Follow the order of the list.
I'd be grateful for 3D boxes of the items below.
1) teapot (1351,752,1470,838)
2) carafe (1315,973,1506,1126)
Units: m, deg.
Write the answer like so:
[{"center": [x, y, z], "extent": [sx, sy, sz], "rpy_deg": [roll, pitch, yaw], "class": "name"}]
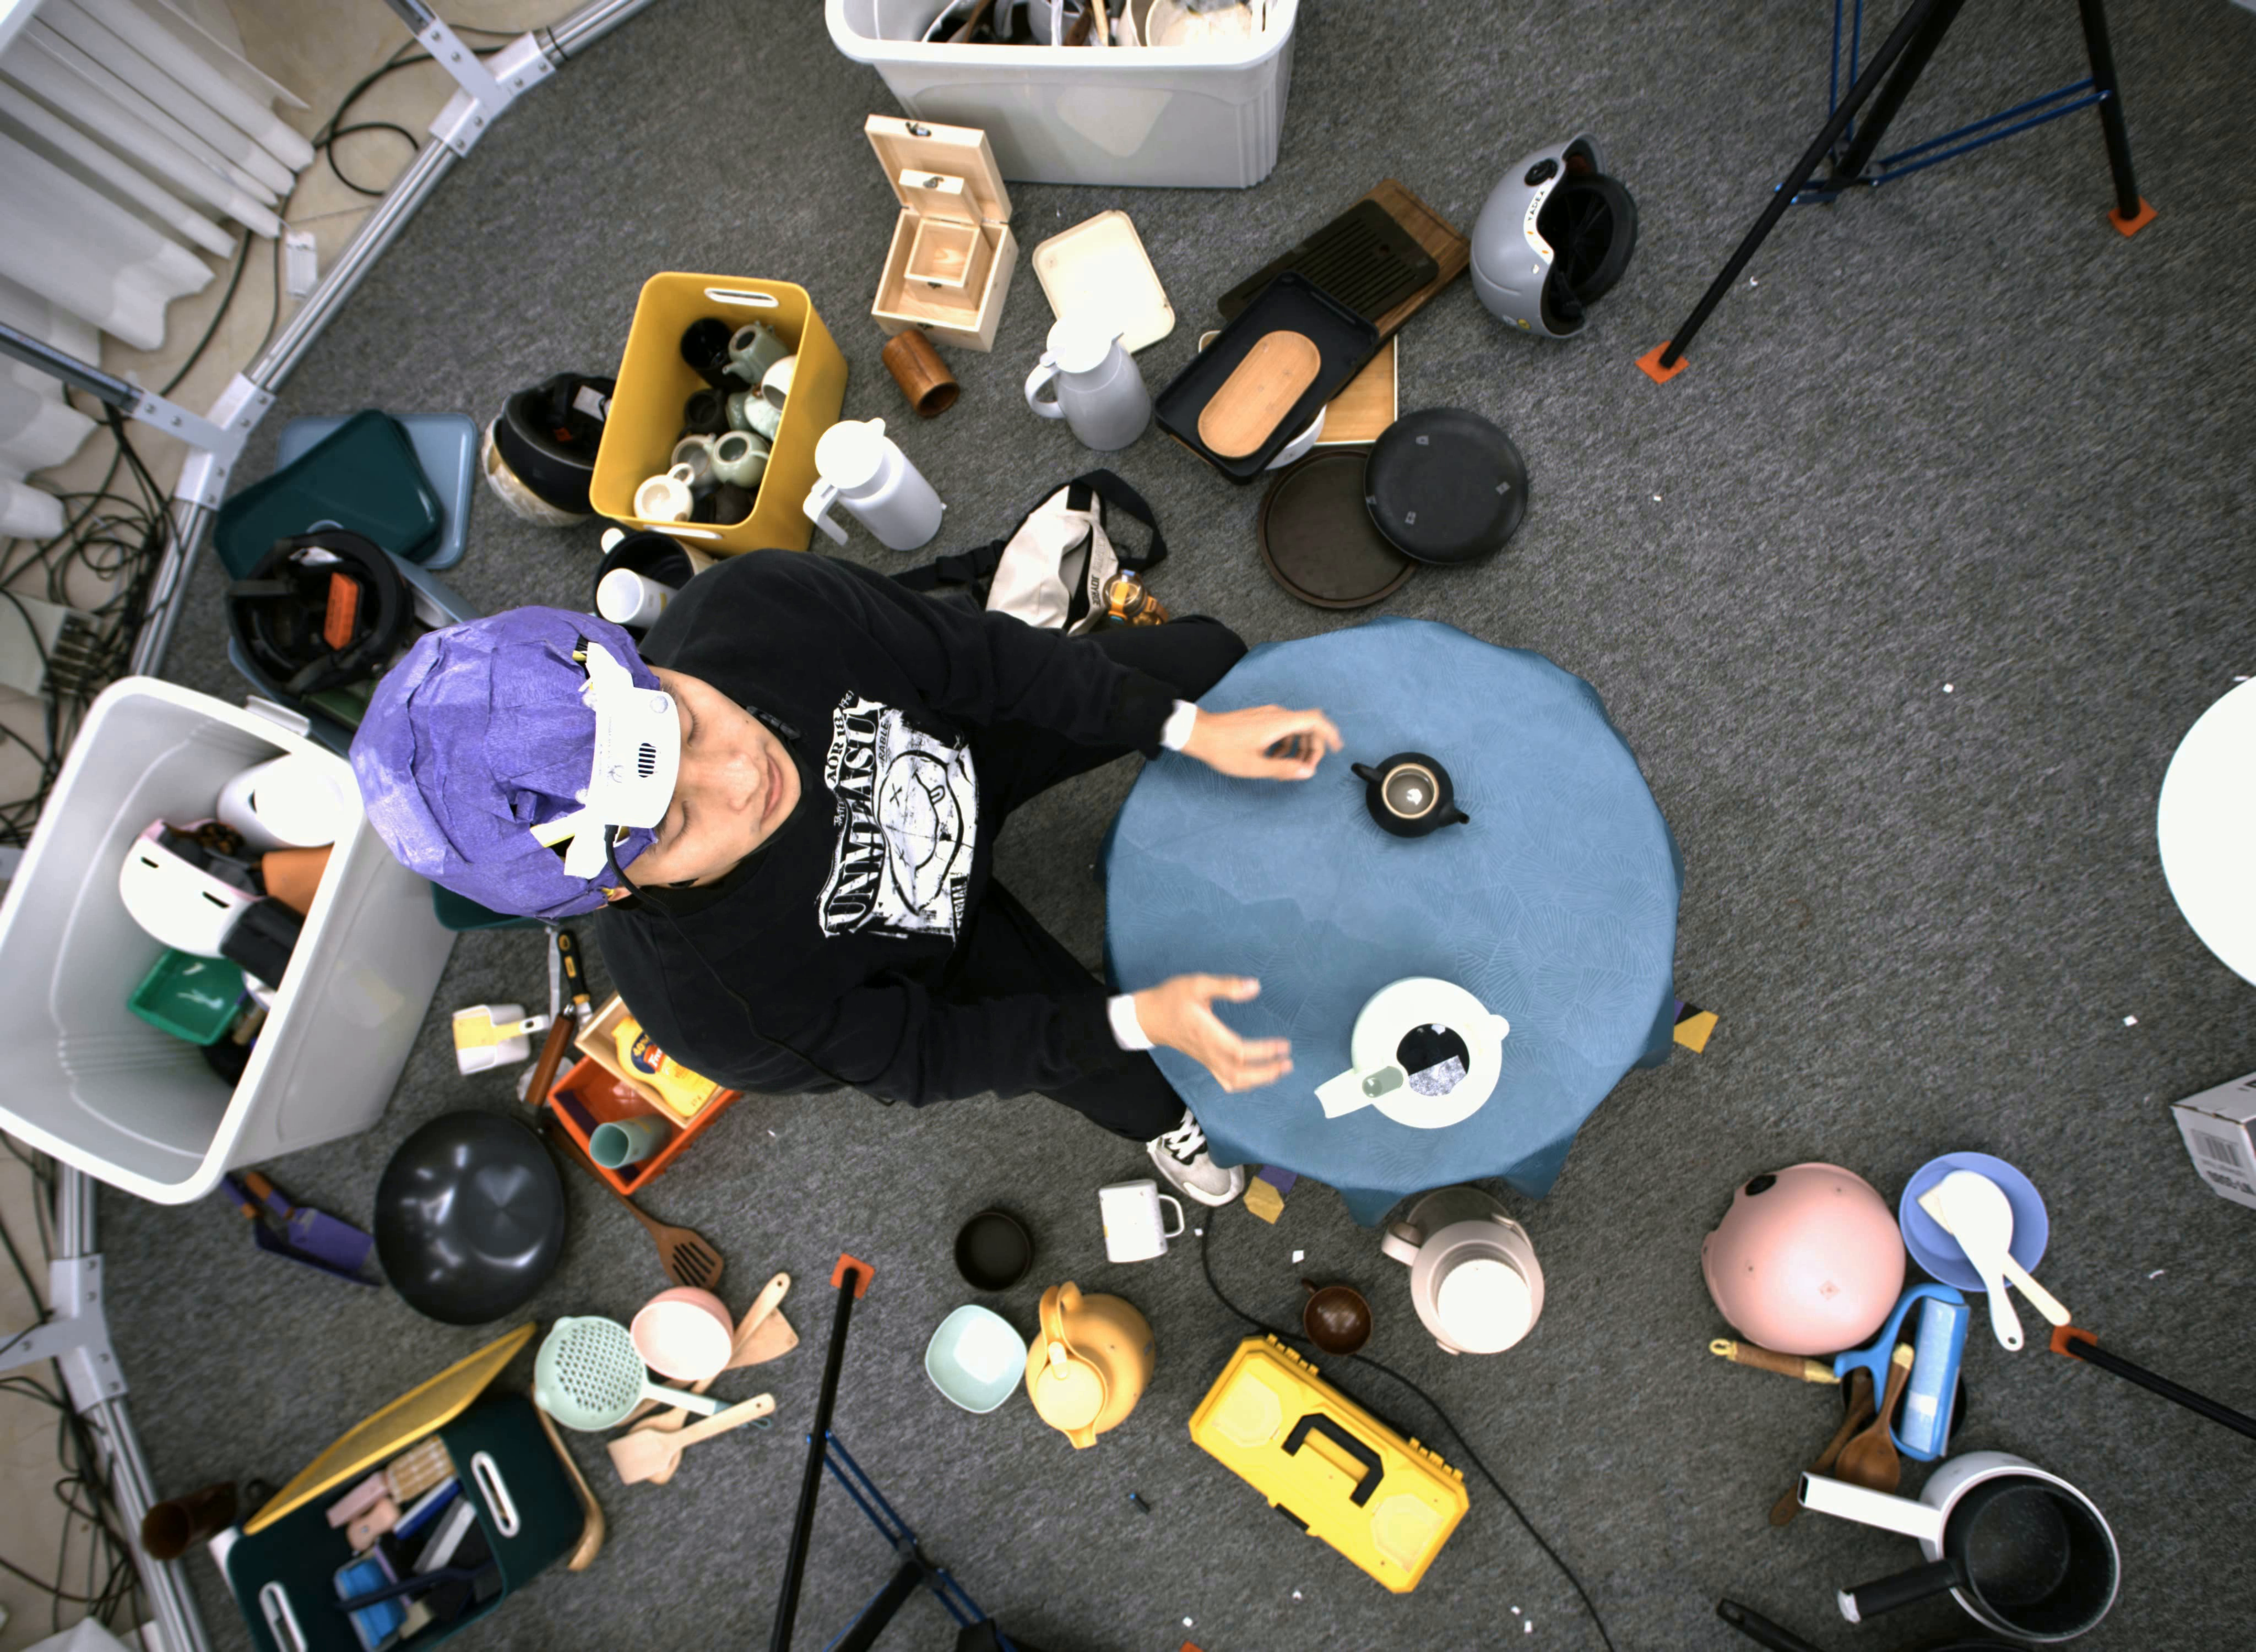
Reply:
[{"center": [0.293, -0.035, 1.435], "extent": [0.133, 0.053, 0.091], "rpy_deg": [27, 90, 10], "class": "teapot"}, {"center": [0.272, 0.222, 1.327], "extent": [0.188, 0.256, 0.143], "rpy_deg": [-27, 82, 10], "class": "carafe"}]
